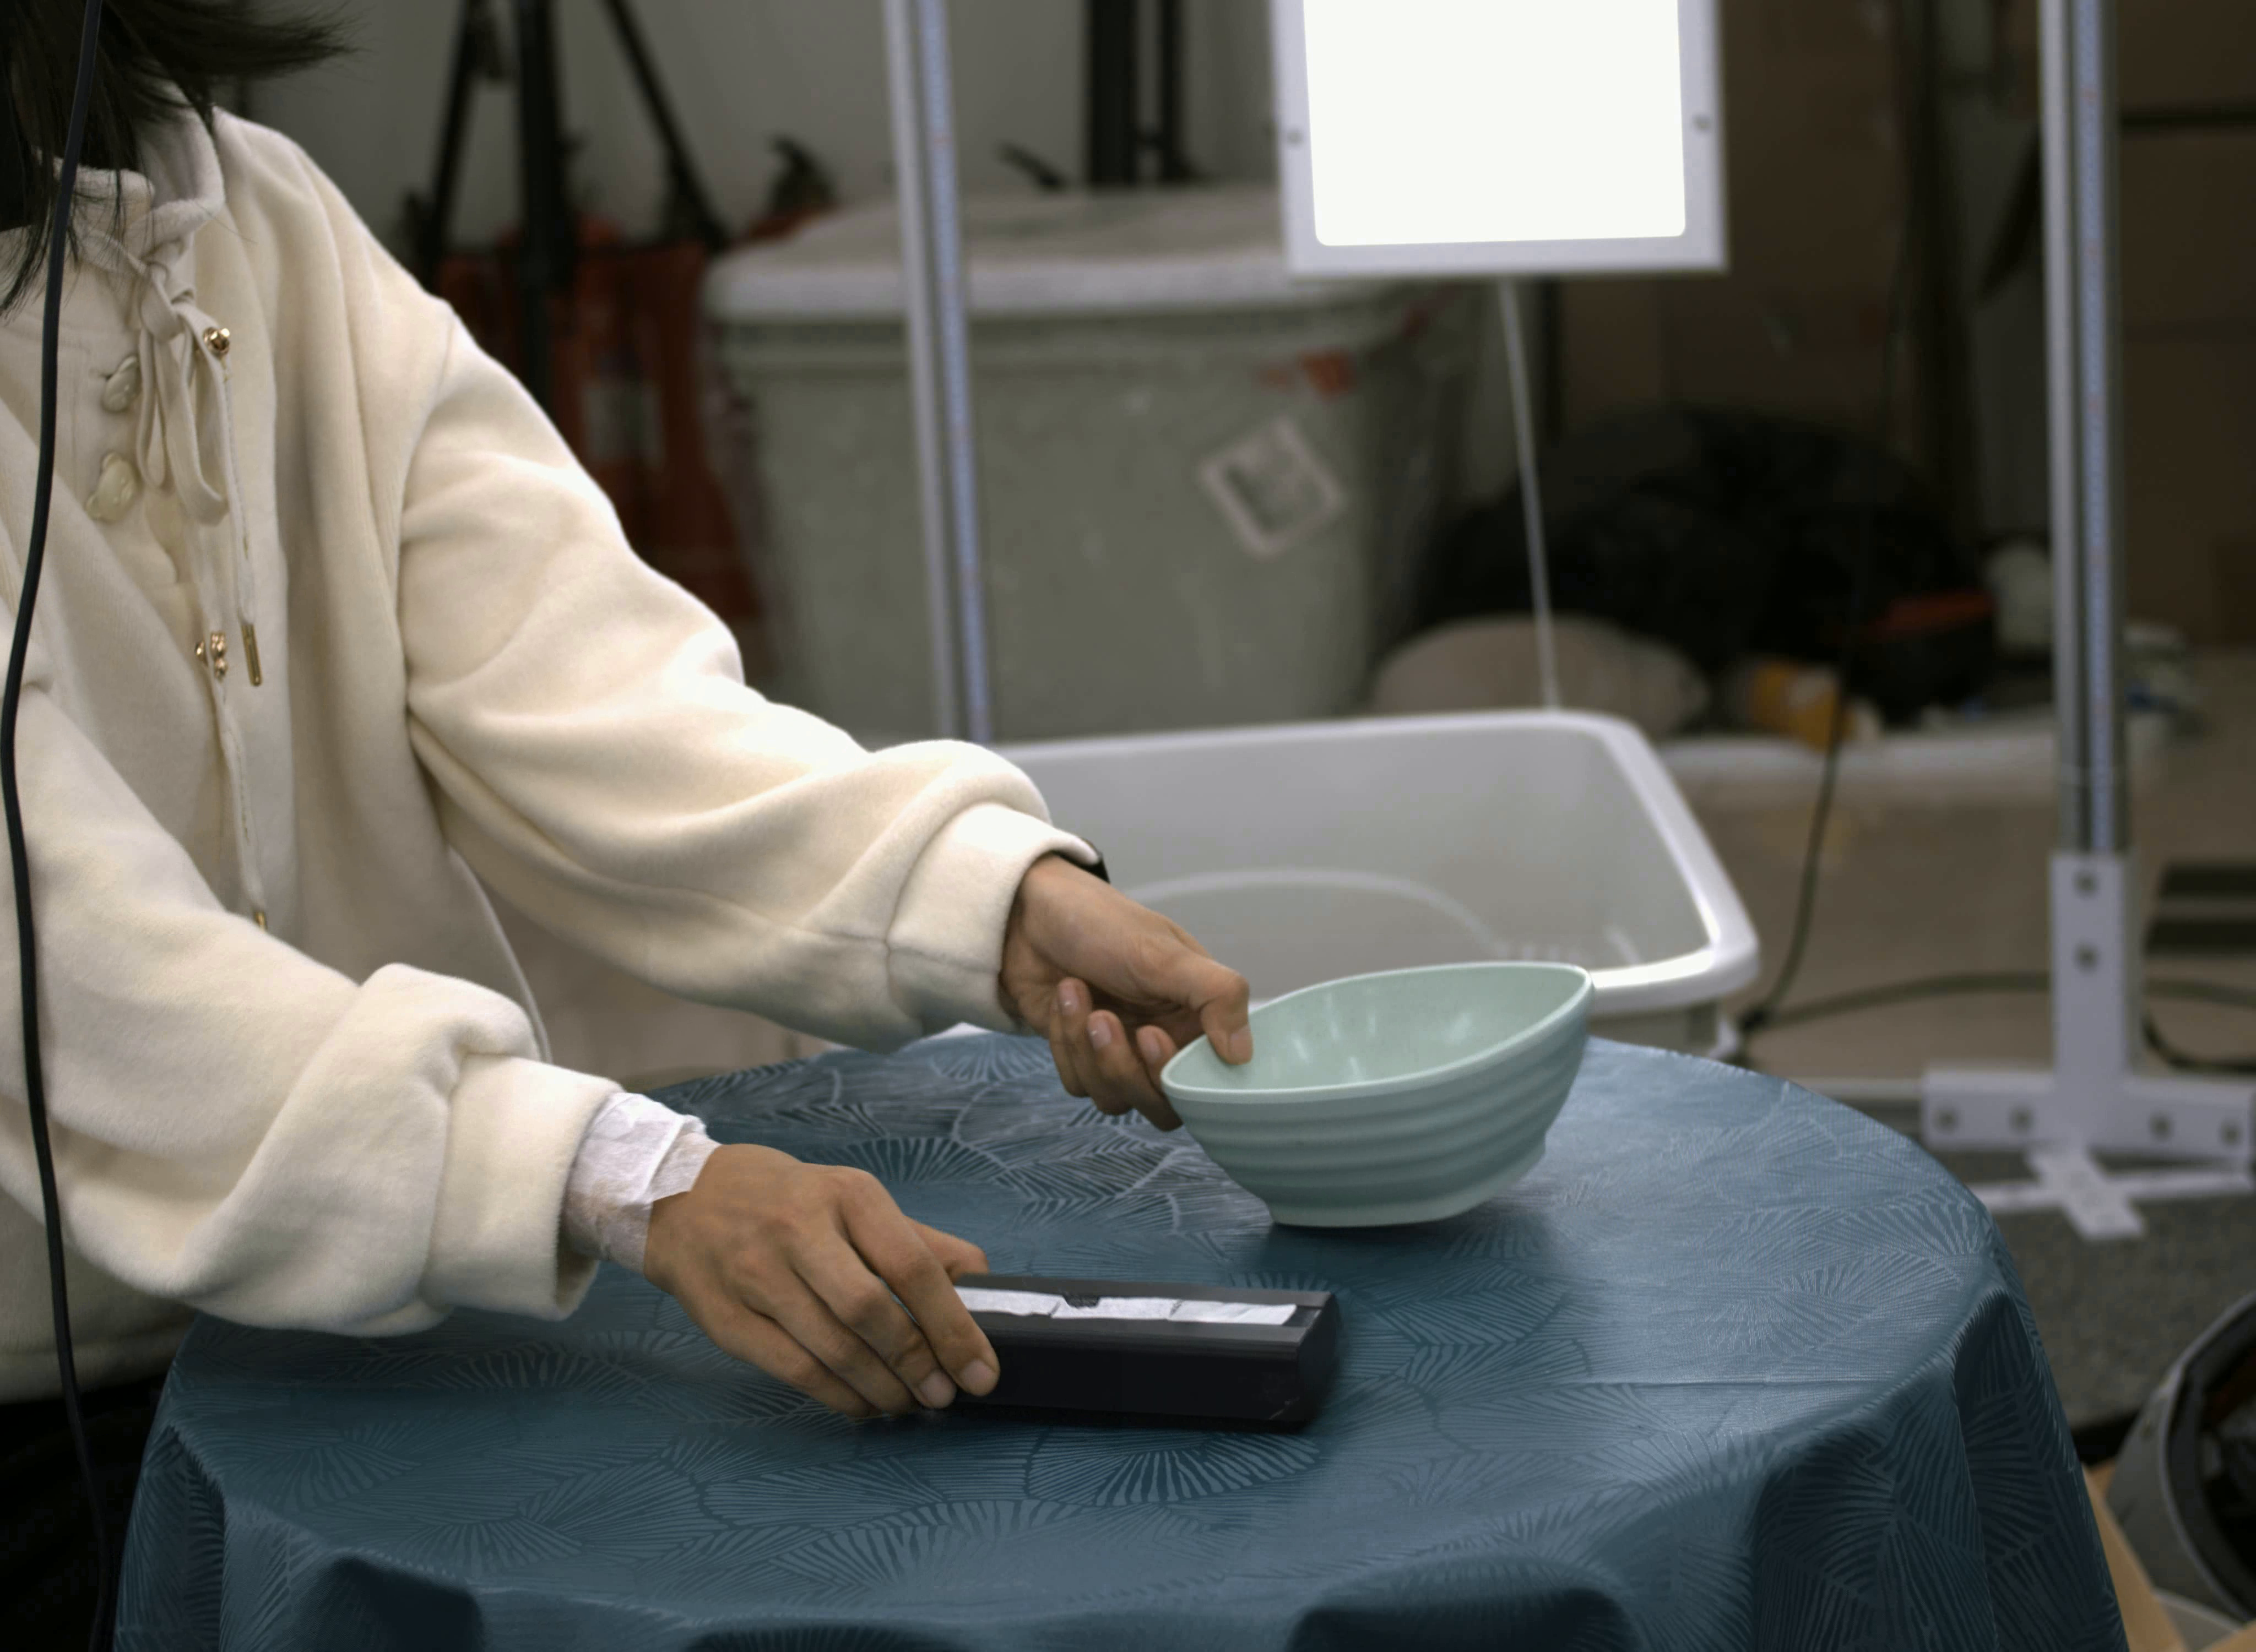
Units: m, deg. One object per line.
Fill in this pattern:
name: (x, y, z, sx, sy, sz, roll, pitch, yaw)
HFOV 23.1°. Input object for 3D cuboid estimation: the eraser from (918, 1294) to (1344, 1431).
eraser: (0.003, 0.163, 1.685, 0.127, 0.030, 0.053, -1, 15, 18)

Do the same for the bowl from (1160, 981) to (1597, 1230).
bowl: (0.089, 0.096, 1.848, 0.151, 0.059, 0.151, -10, 10, 0)
